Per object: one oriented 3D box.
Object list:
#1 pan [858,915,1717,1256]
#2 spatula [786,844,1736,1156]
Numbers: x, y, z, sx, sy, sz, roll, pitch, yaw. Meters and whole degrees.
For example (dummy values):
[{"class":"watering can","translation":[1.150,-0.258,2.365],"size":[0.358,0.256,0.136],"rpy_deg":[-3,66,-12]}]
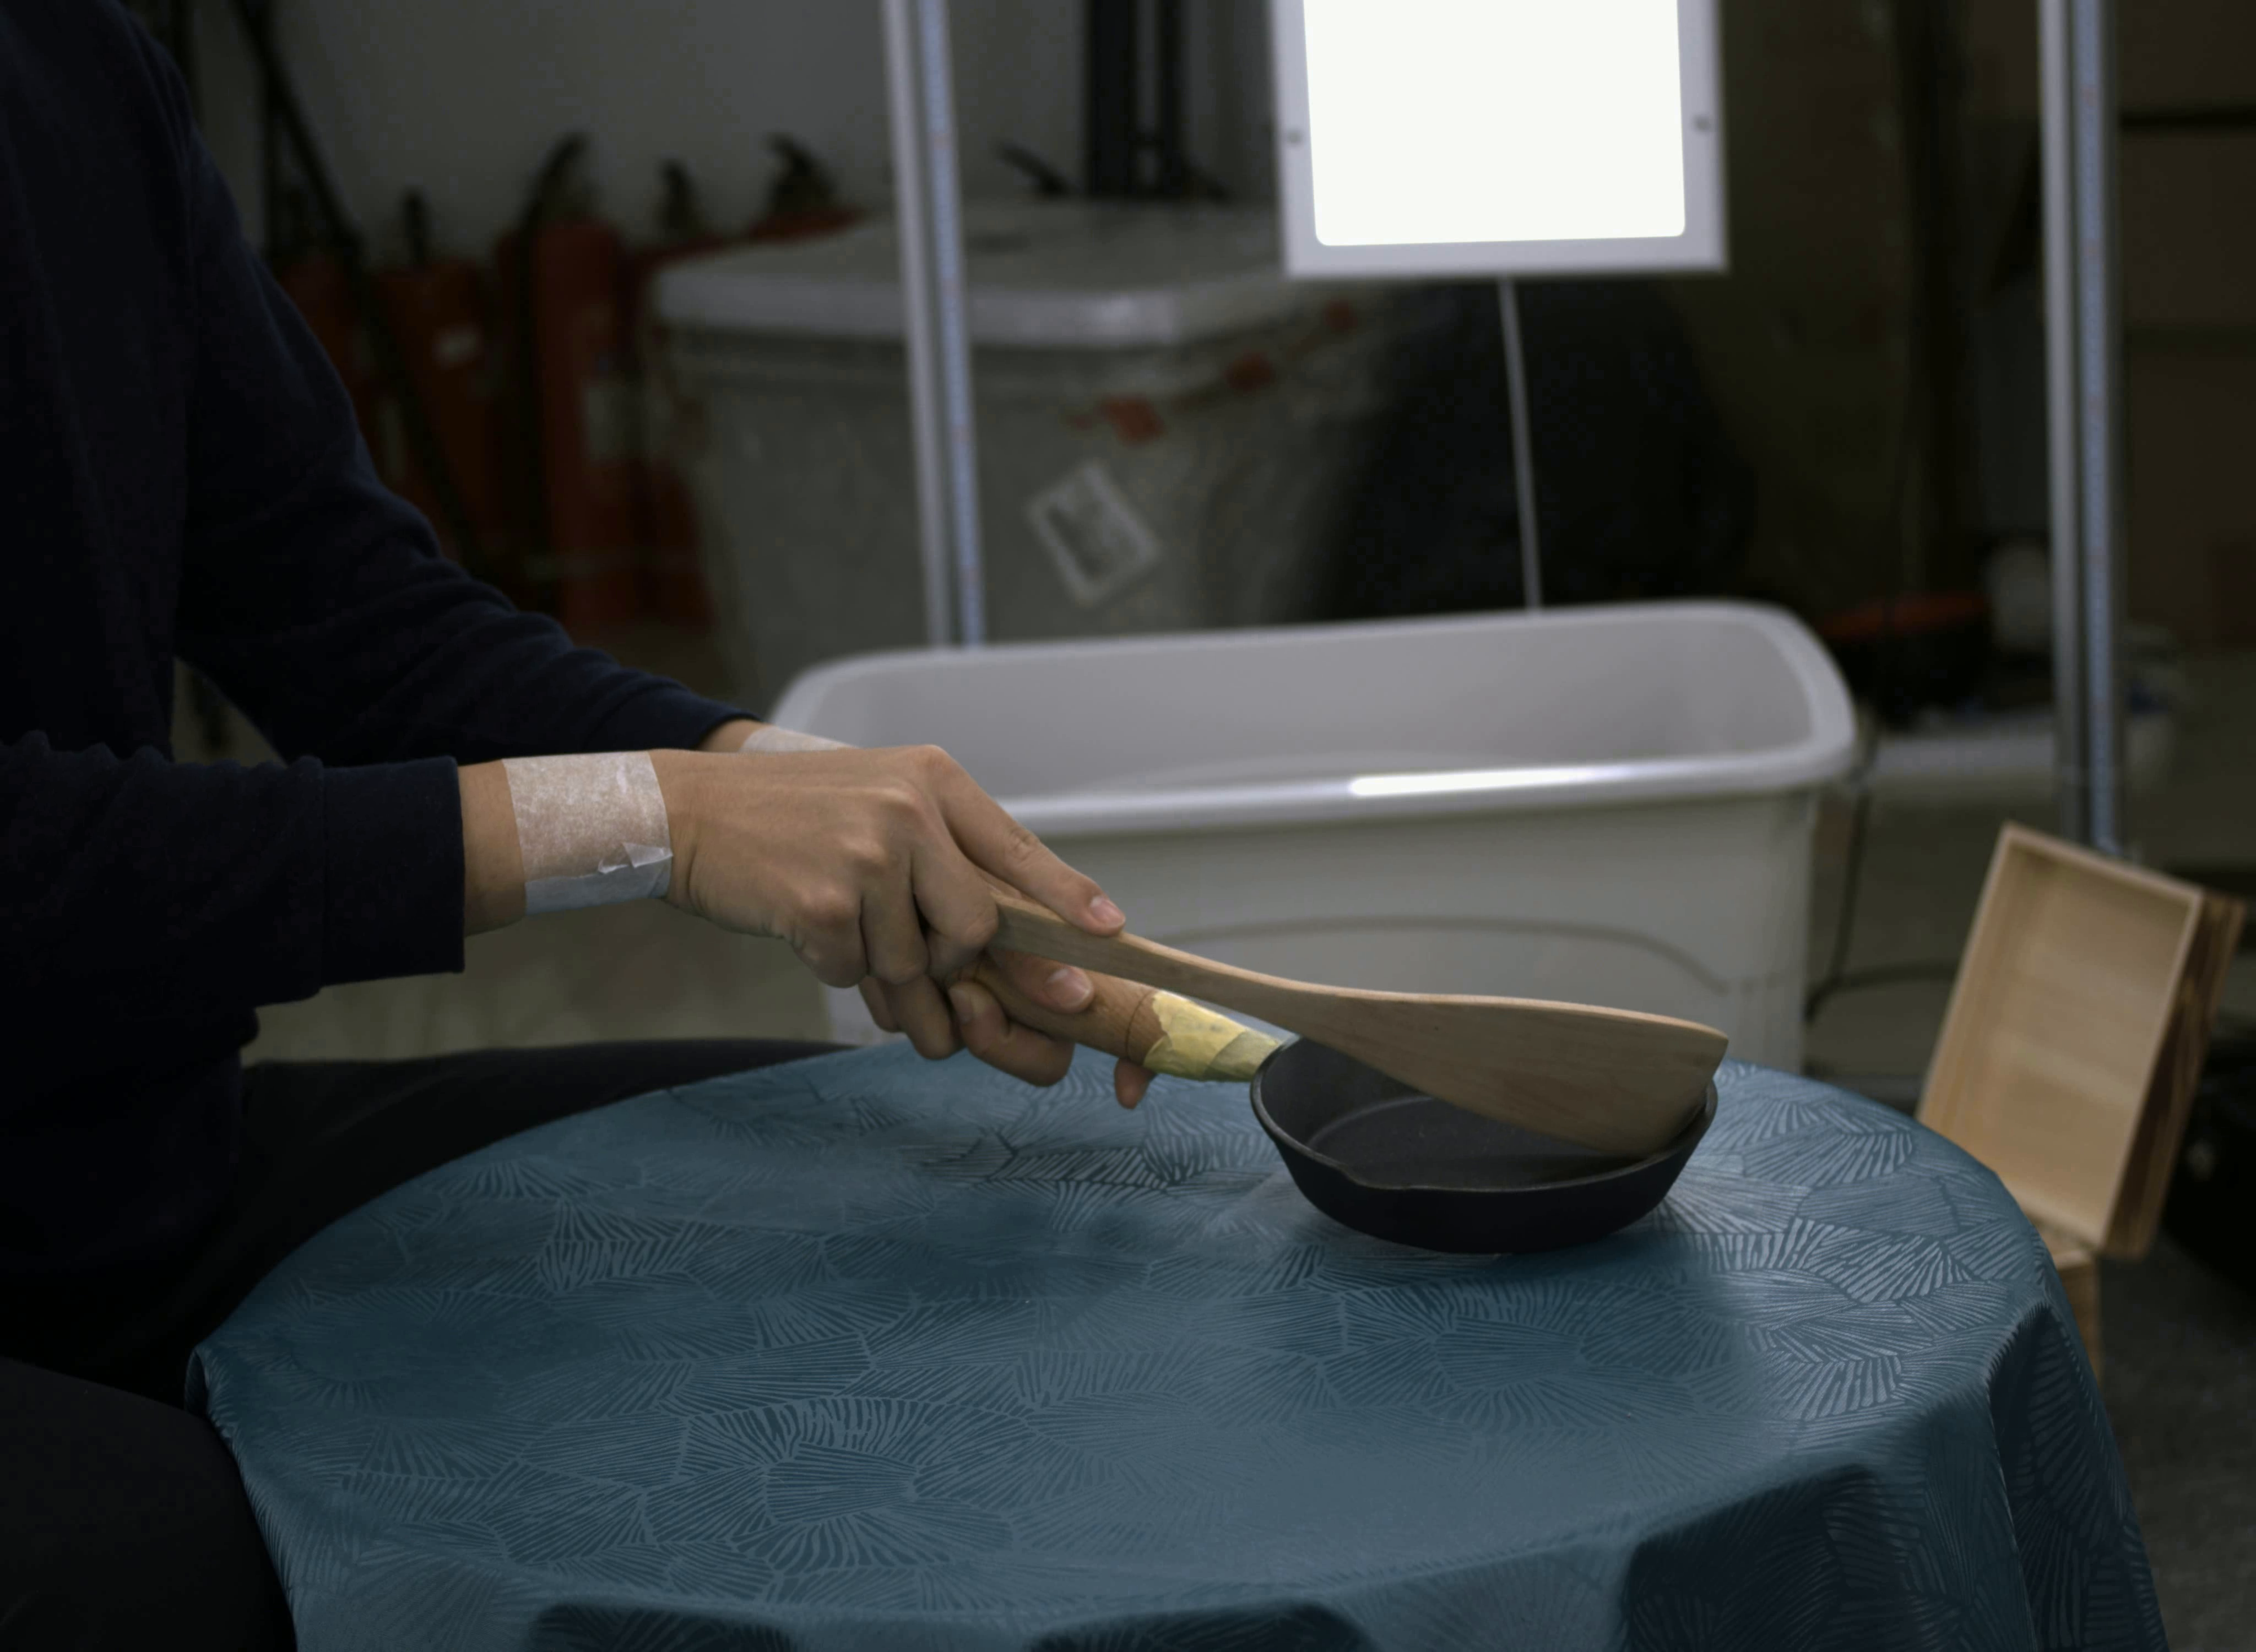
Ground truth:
[{"class":"pan","translation":[0.047,0.081,1.889],"size":[0.330,0.050,0.165],"rpy_deg":[12,25,30]},{"class":"spatula","translation":[0.041,0.053,1.853],"size":[0.329,0.080,0.016],"rpy_deg":[15,51,11]}]
